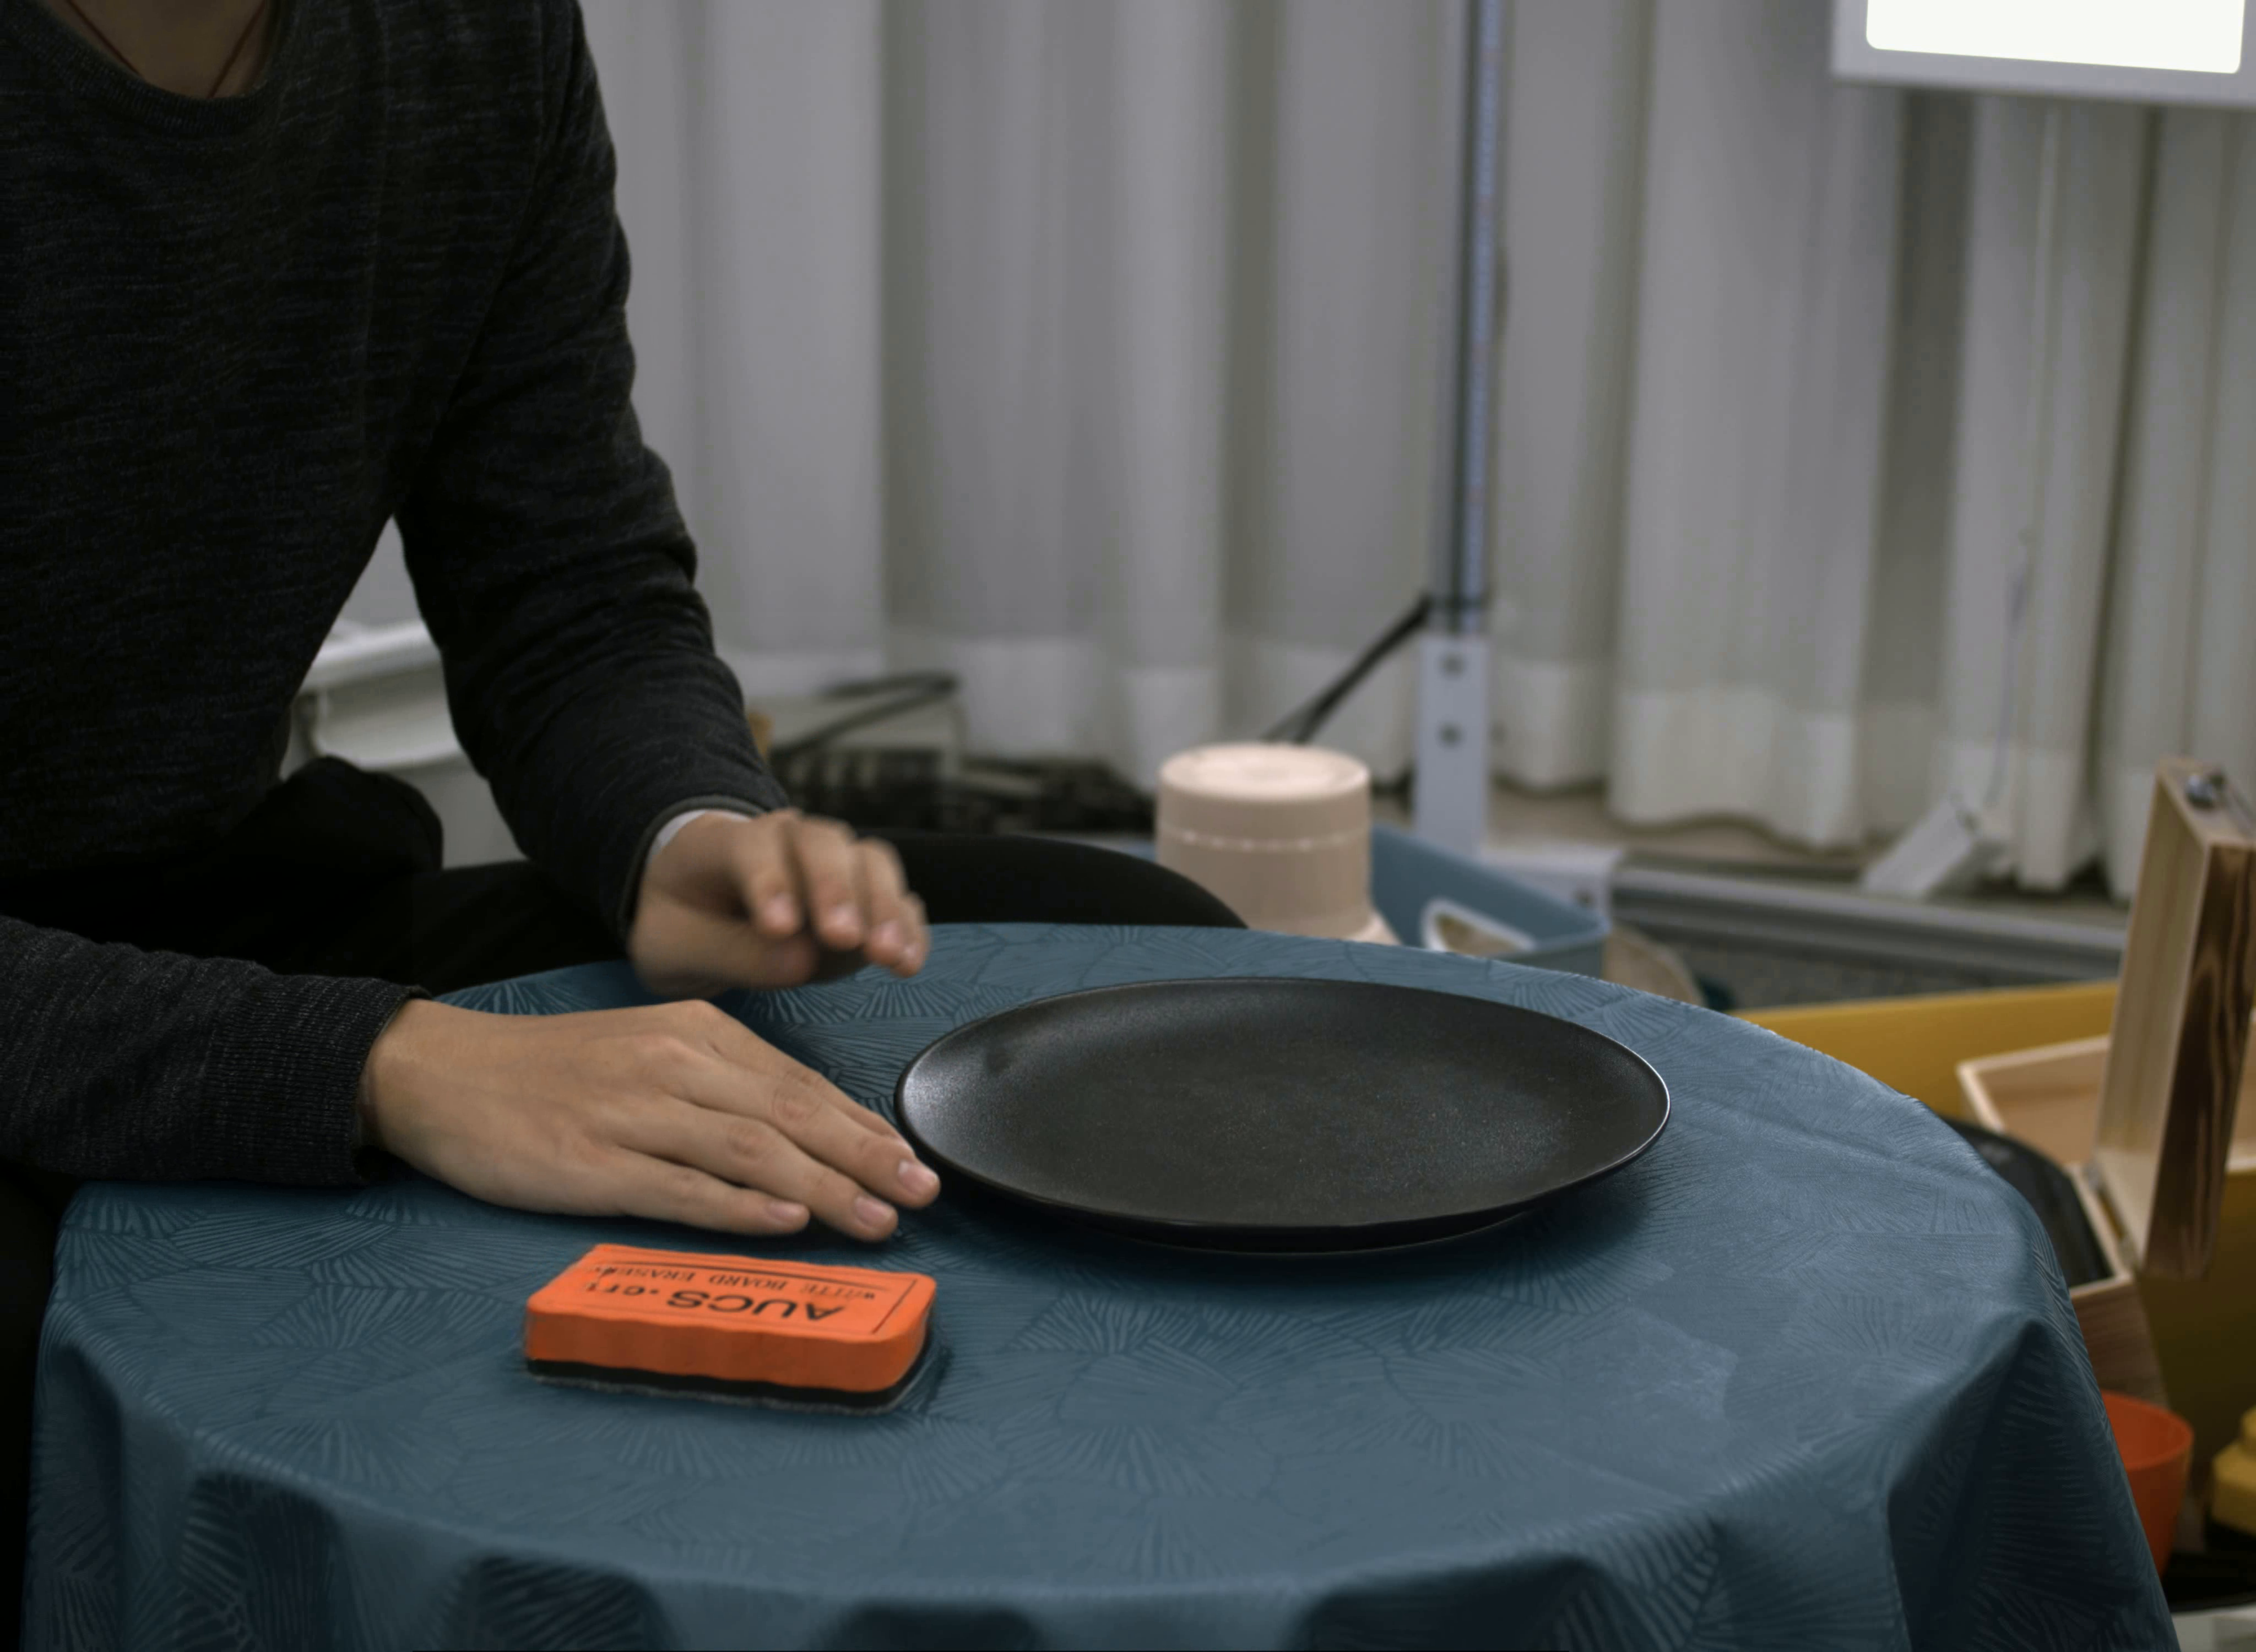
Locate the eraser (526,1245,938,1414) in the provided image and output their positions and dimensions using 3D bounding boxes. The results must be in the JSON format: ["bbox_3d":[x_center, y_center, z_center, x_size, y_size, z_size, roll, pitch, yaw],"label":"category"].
[{"bbox_3d":[-0.110,0.140,1.472,0.107,0.023,0.059,5,14,15],"label":"eraser"}]

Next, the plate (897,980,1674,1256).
[{"bbox_3d":[0.049,0.093,1.649,0.243,0.023,0.243,0,16,0],"label":"plate"}]
